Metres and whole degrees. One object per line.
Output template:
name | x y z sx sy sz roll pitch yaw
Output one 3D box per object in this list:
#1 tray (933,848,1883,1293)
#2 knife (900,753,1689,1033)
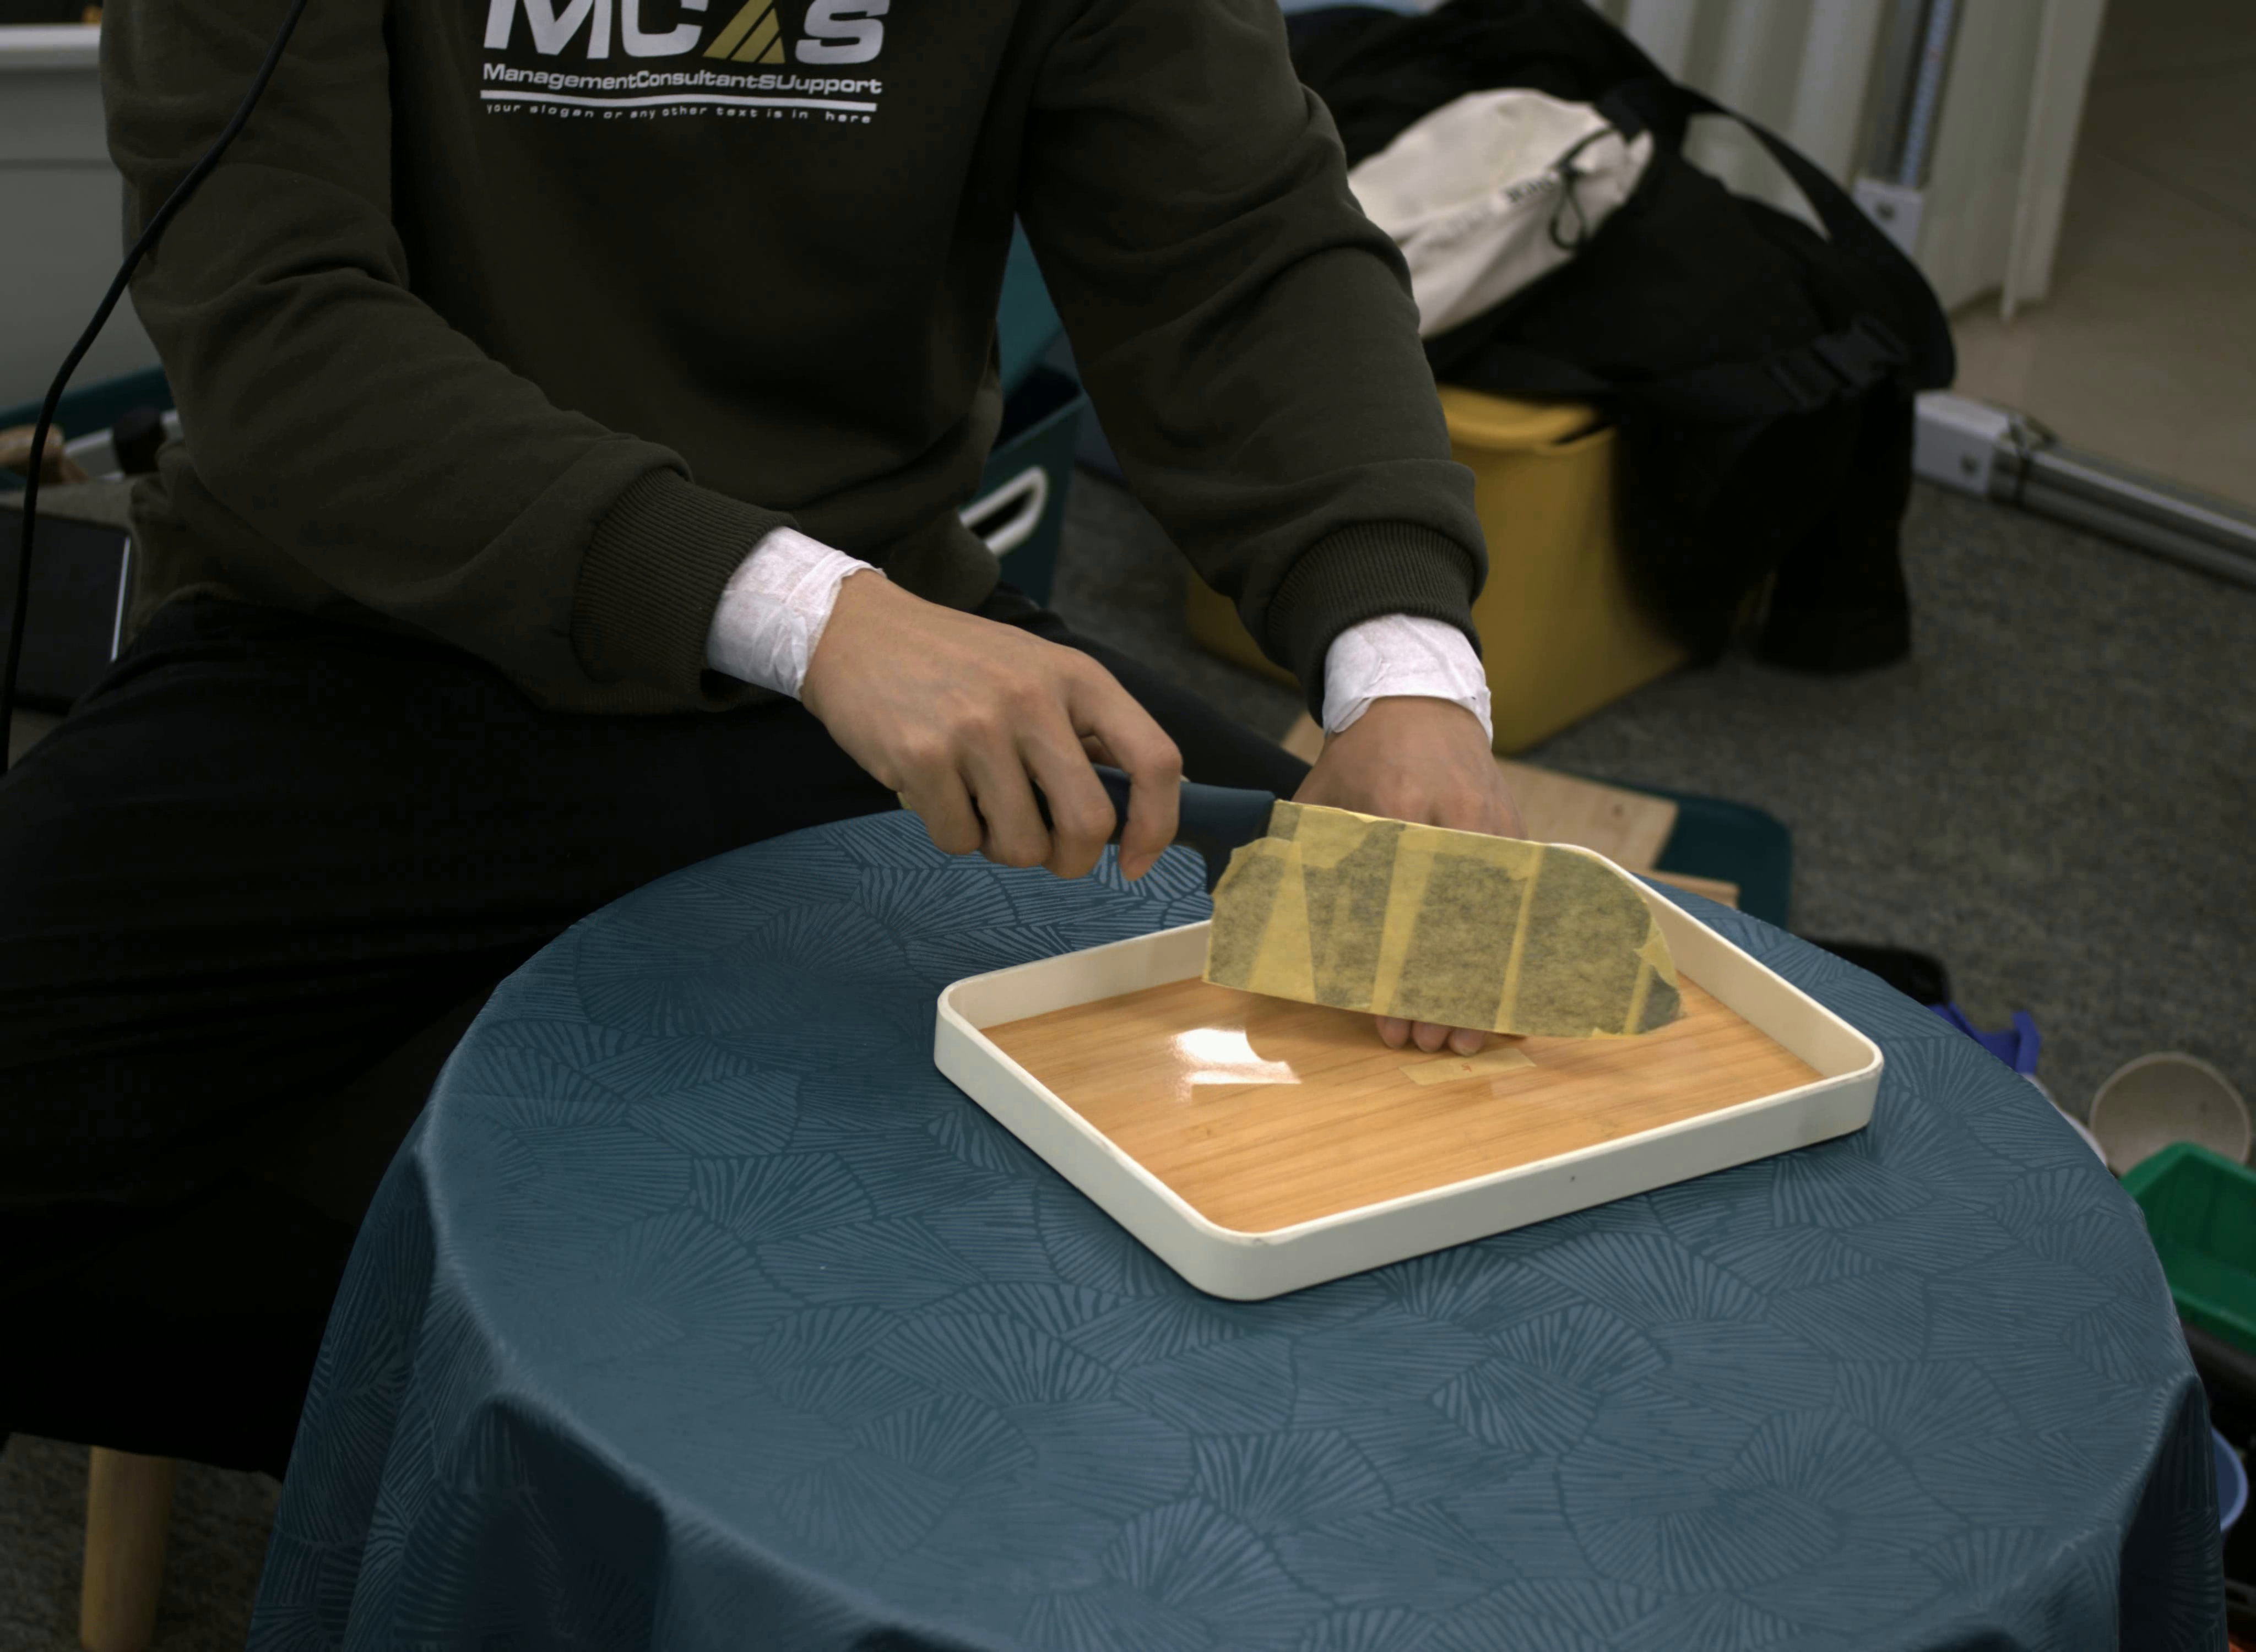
tray | 0.099 0.082 1.882 0.298 0.027 0.193 -12 31 -33
knife | 0.058 0.024 1.880 0.289 0.081 0.027 13 15 0
